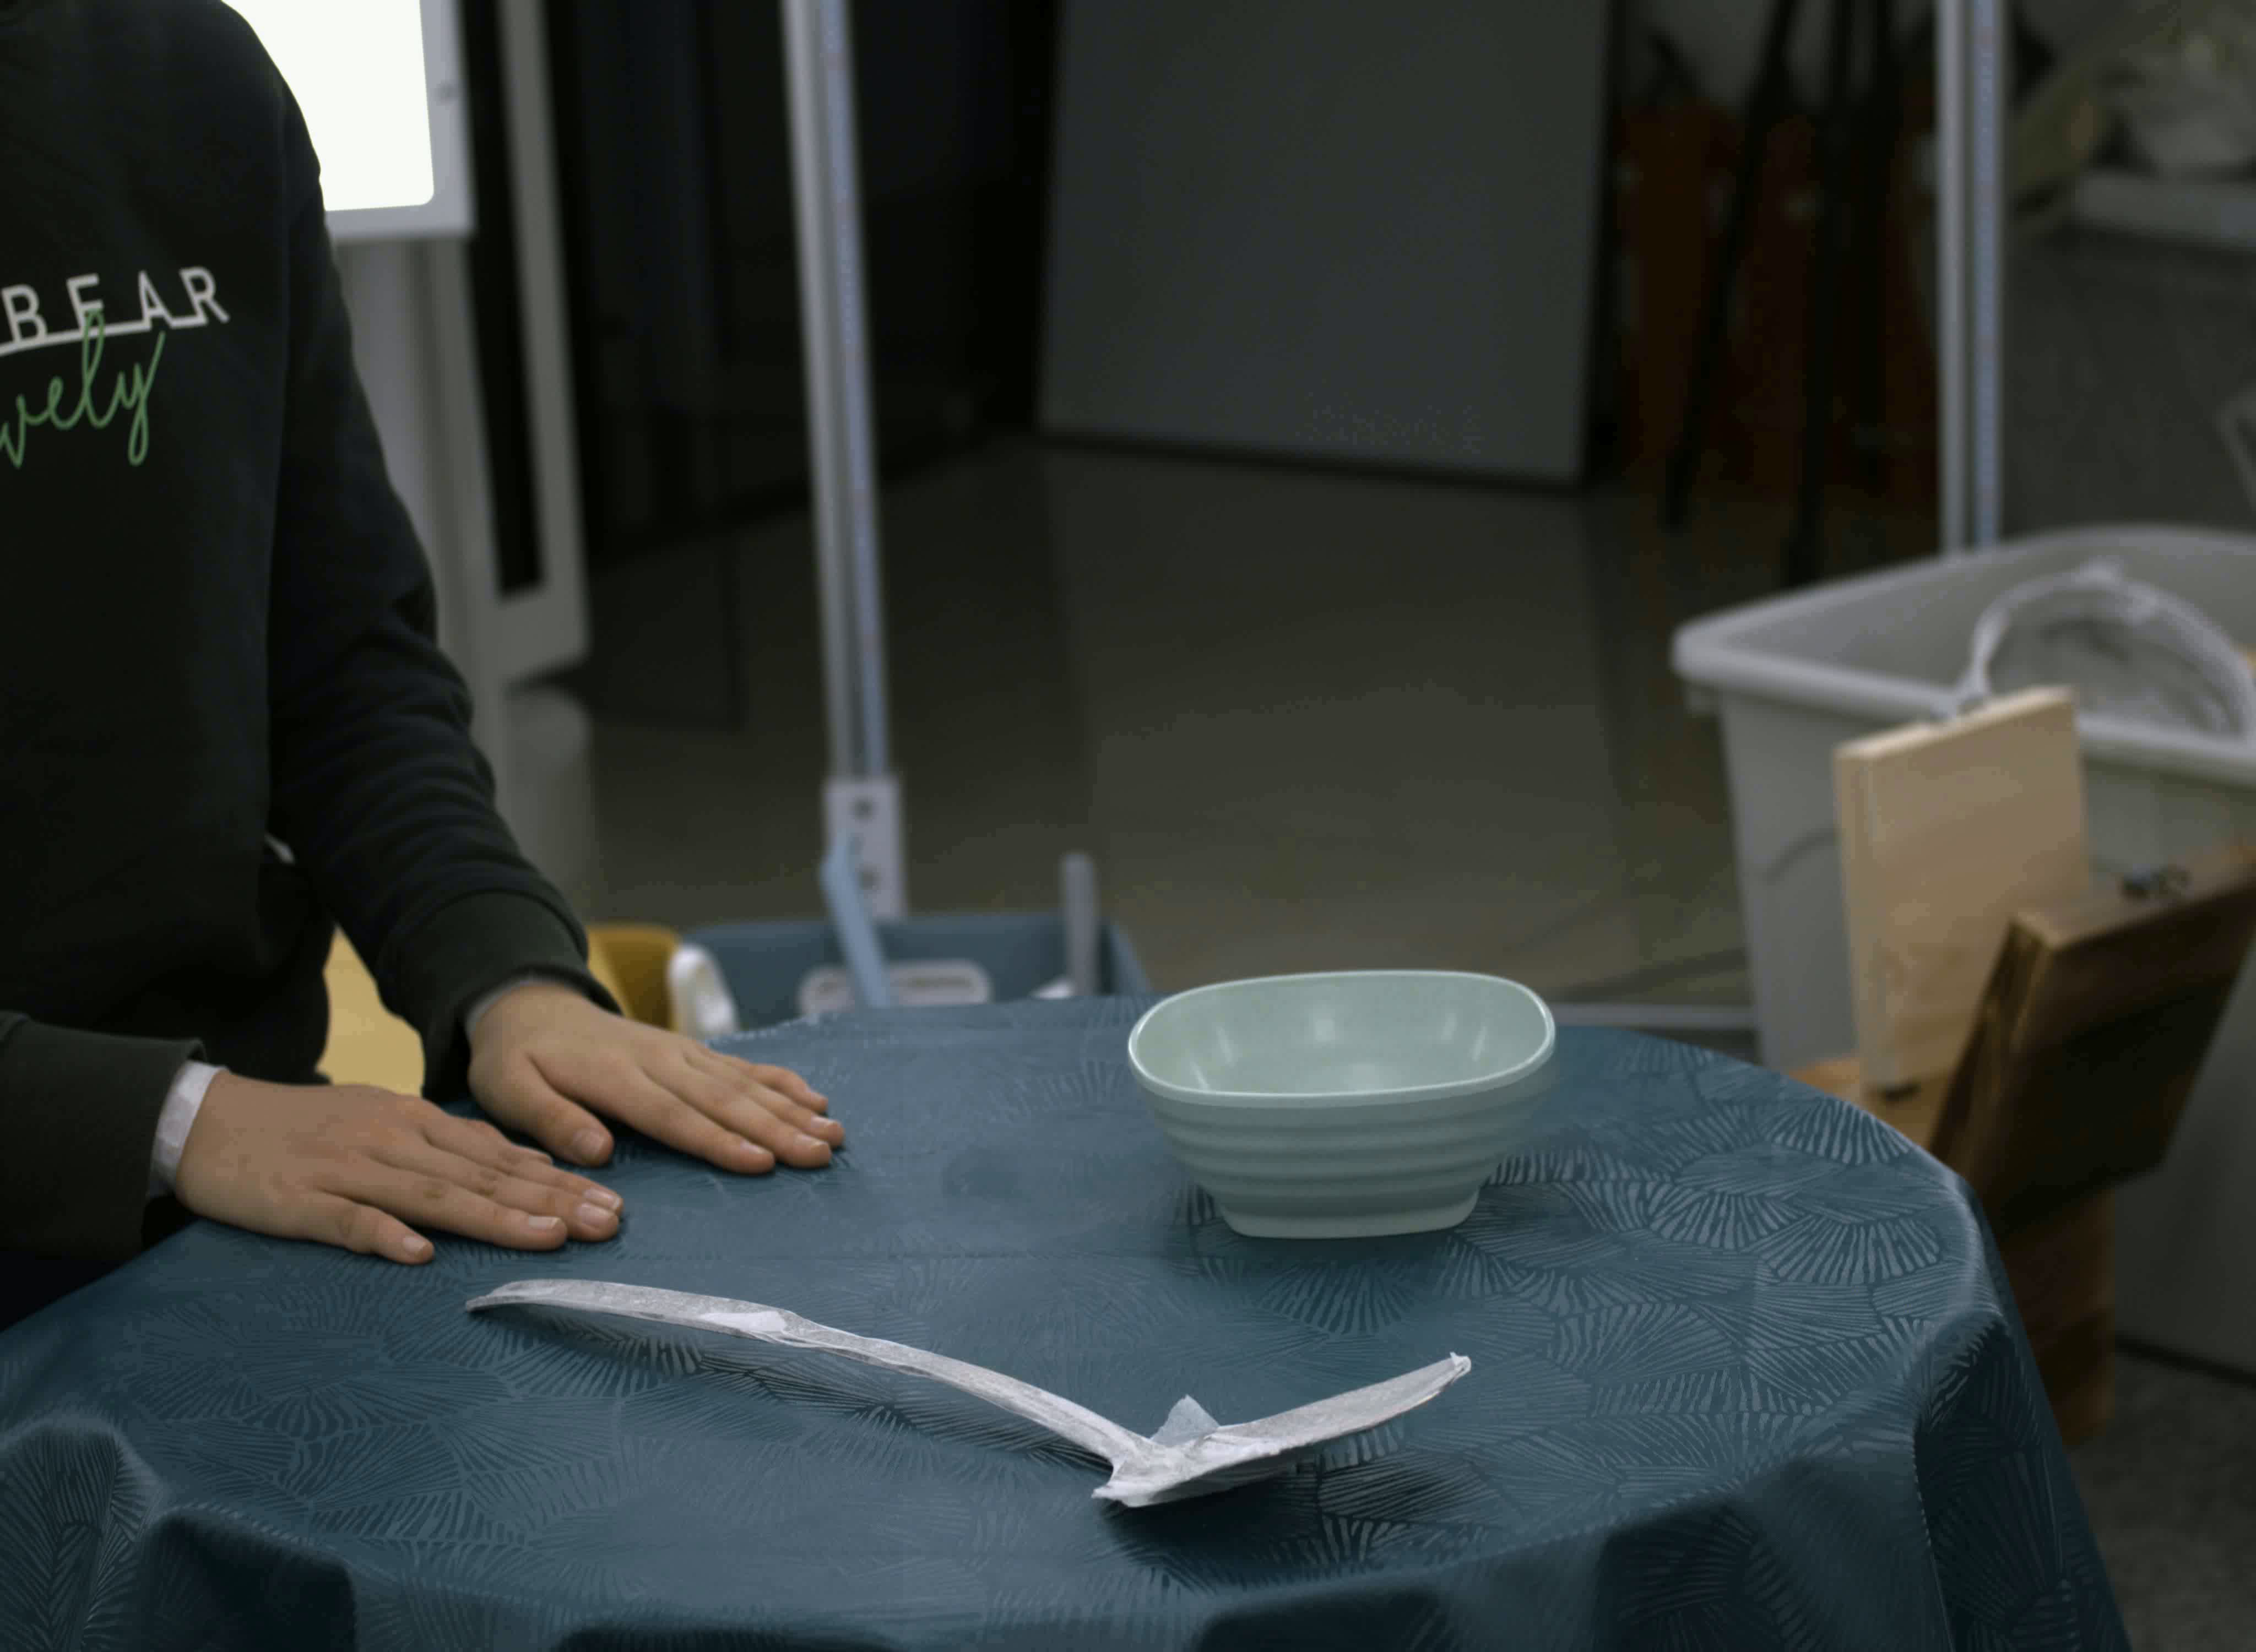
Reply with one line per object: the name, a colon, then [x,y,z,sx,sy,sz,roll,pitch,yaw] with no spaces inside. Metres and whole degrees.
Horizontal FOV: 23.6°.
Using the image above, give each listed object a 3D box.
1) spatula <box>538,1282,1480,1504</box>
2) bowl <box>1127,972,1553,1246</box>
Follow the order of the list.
spatula: [-0.056,0.154,1.576,0.368,0.045,0.097,9,21,42]
bowl: [0.069,0.095,1.743,0.149,0.059,0.152,-2,15,0]
